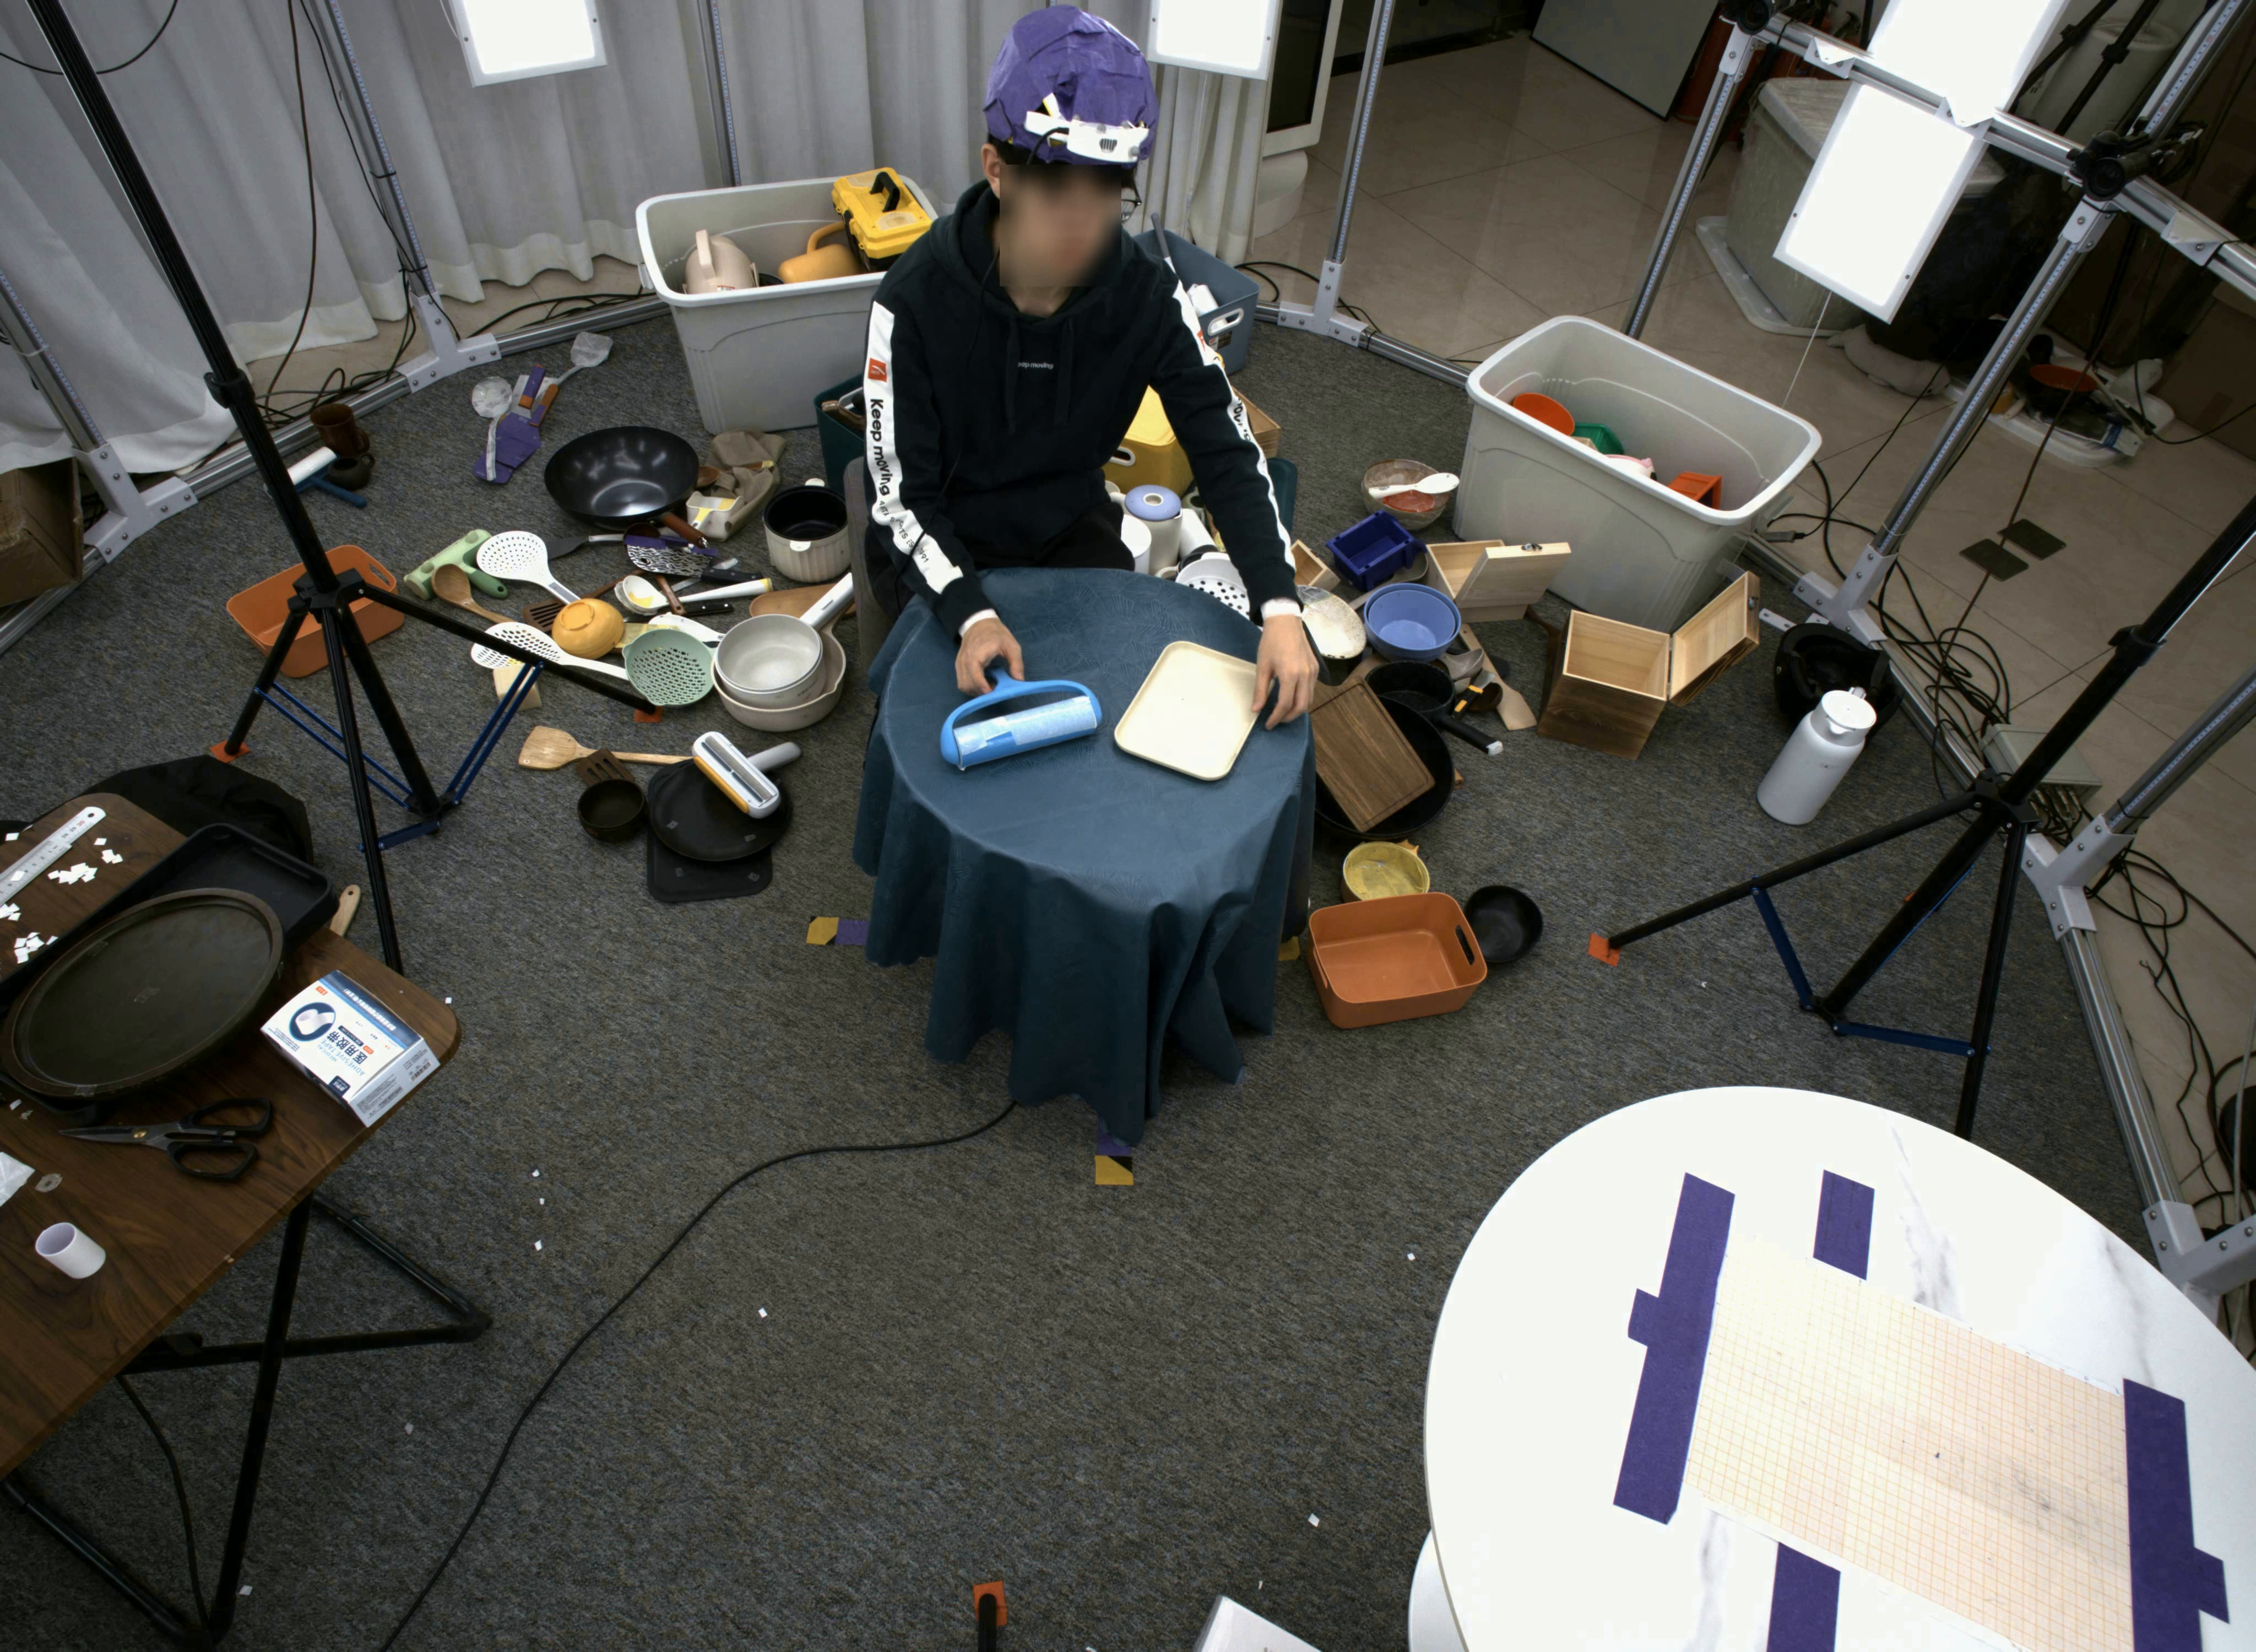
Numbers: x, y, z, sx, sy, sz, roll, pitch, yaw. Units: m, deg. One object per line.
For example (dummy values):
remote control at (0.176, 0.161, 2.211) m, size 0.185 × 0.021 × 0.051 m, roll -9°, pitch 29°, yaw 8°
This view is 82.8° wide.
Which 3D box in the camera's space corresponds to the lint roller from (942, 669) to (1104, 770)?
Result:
lint roller at (-0.166, -0.170, 1.768) m, size 0.229 × 0.066 × 0.184 m, roll -19°, pitch 54°, yaw -18°

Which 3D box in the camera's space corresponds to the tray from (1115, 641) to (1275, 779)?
tray at (0.096, -0.165, 1.805) m, size 0.172 × 0.017 × 0.244 m, roll 19°, pitch 51°, yaw 14°
